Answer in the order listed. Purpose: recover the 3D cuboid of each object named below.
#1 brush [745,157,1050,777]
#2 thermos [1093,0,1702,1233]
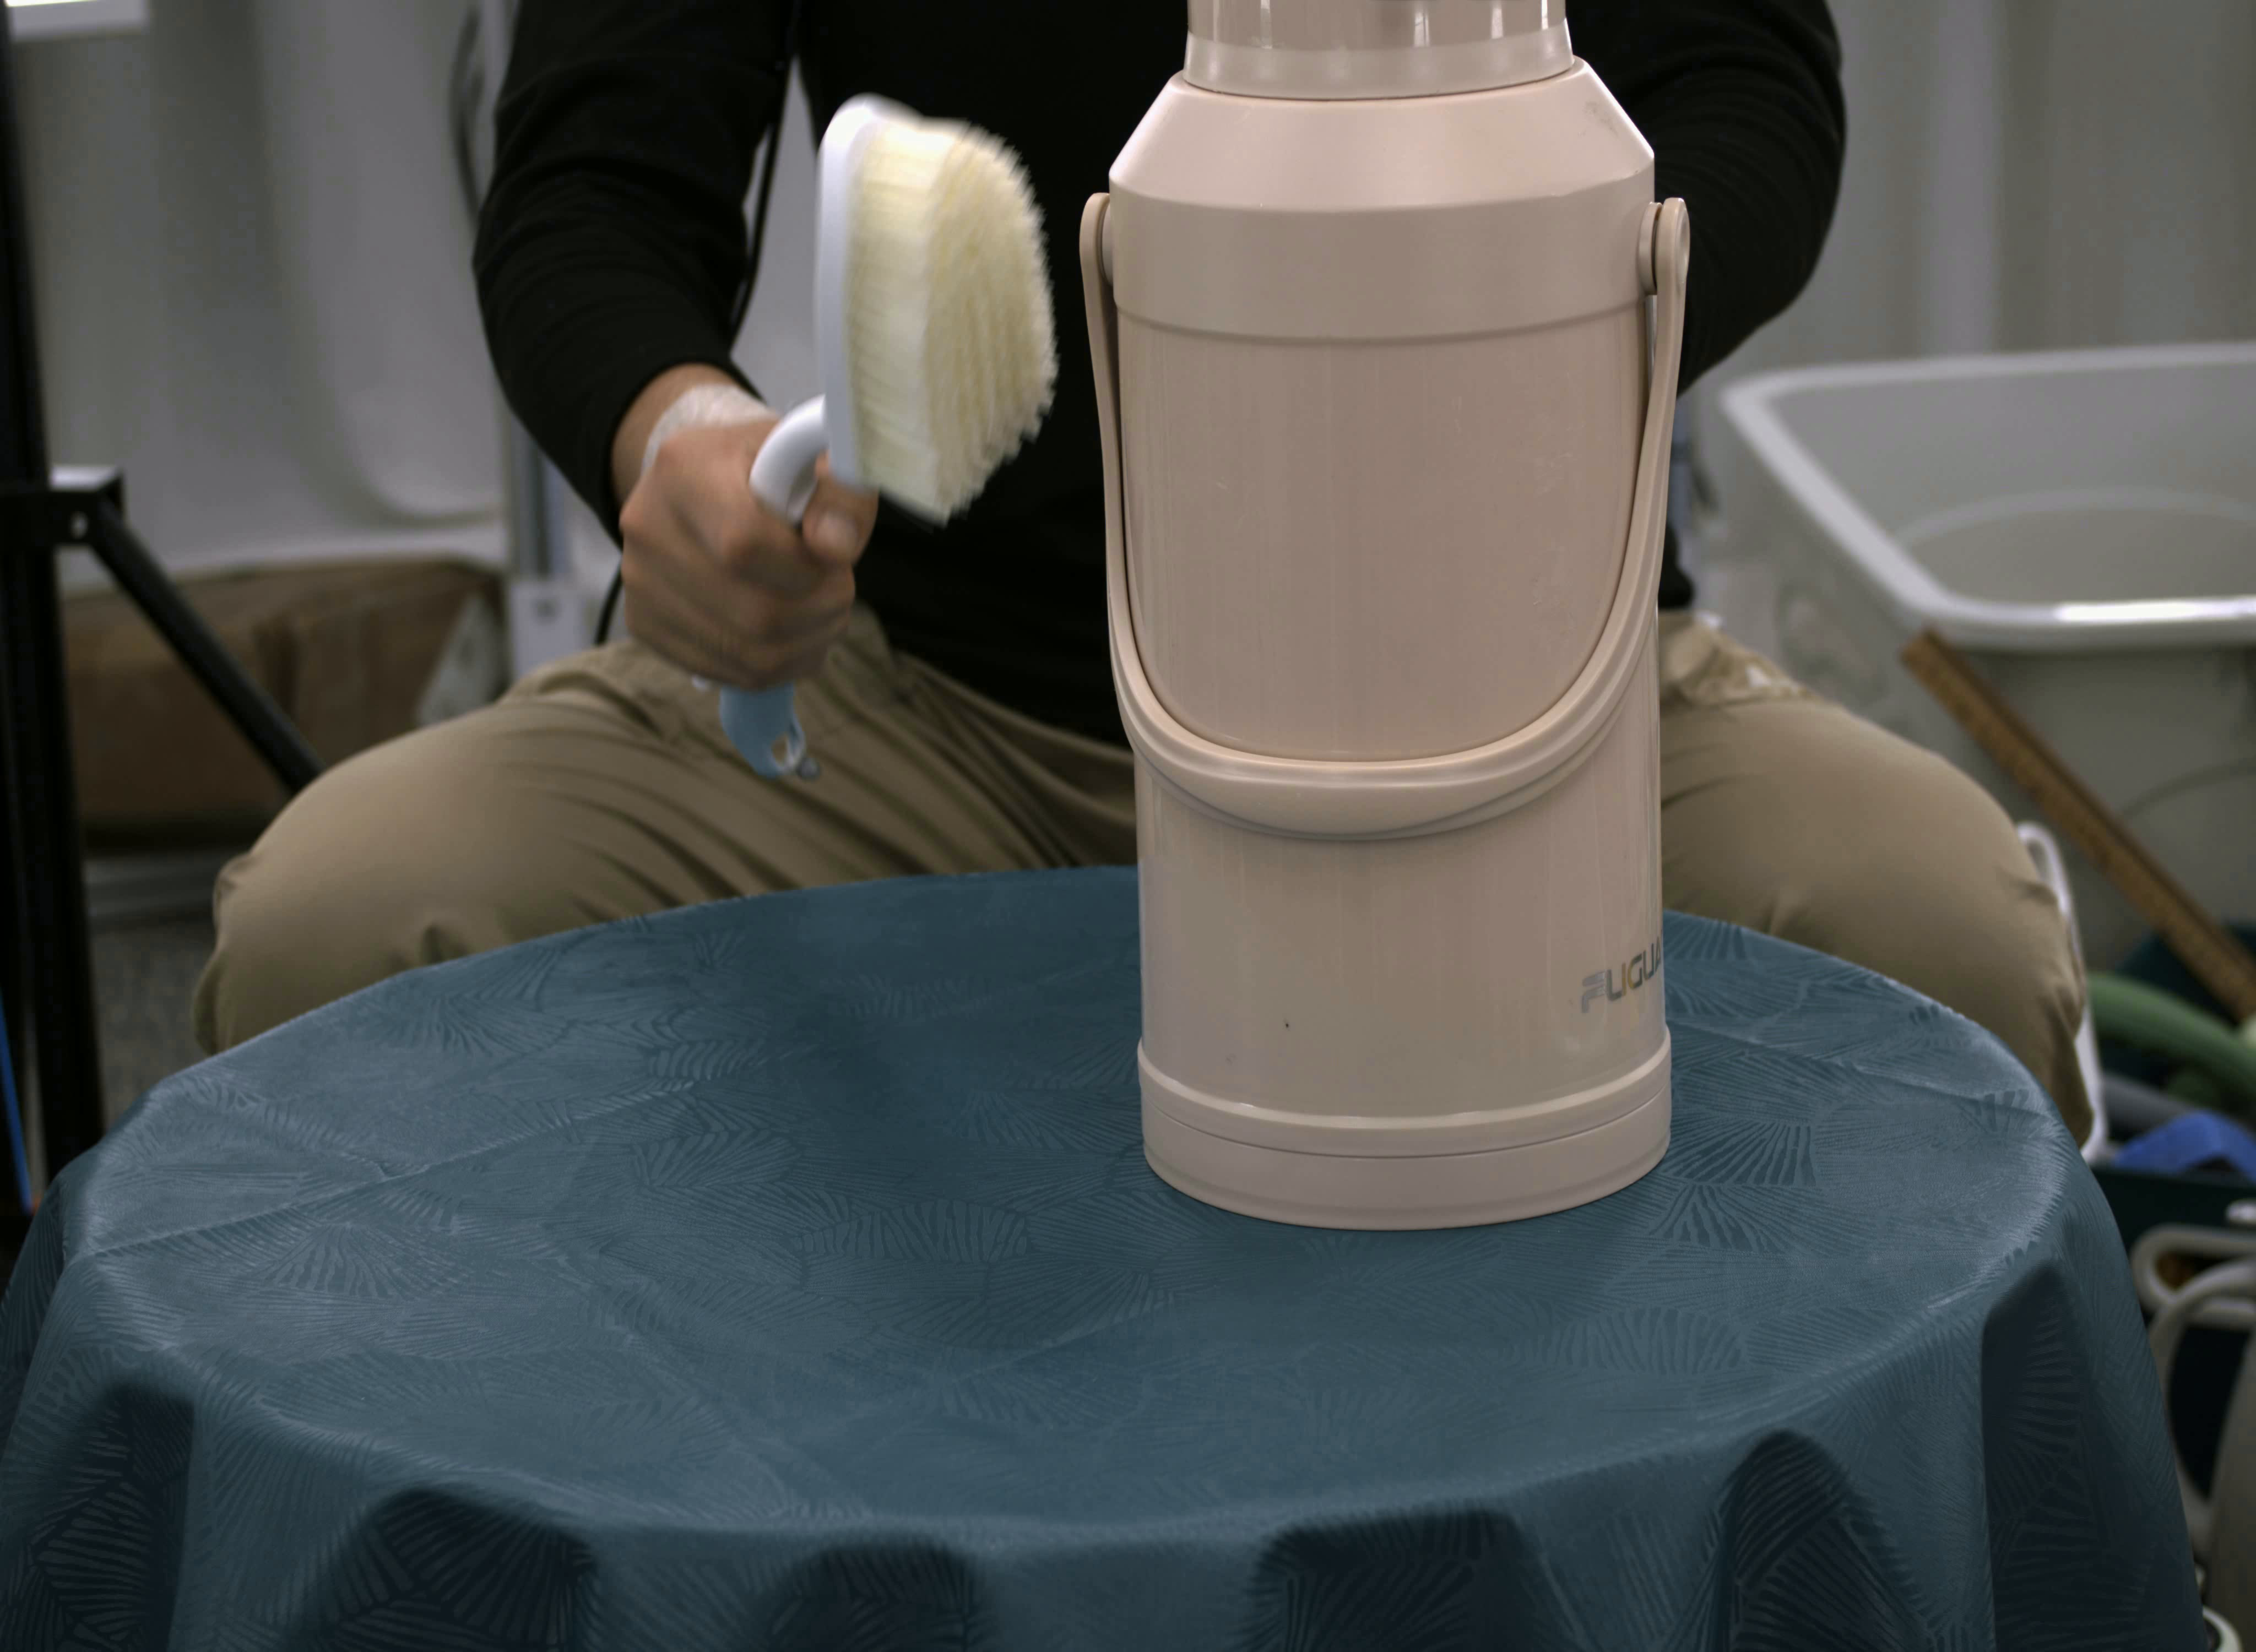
[{"bbox_3d":[-0.068,-0.091,1.650,0.082,0.324,0.086,-13,62,-13],"label":"brush"},{"bbox_3d":[0.084,-0.100,1.551,0.177,0.406,0.205,1,15,17],"label":"thermos"}]
